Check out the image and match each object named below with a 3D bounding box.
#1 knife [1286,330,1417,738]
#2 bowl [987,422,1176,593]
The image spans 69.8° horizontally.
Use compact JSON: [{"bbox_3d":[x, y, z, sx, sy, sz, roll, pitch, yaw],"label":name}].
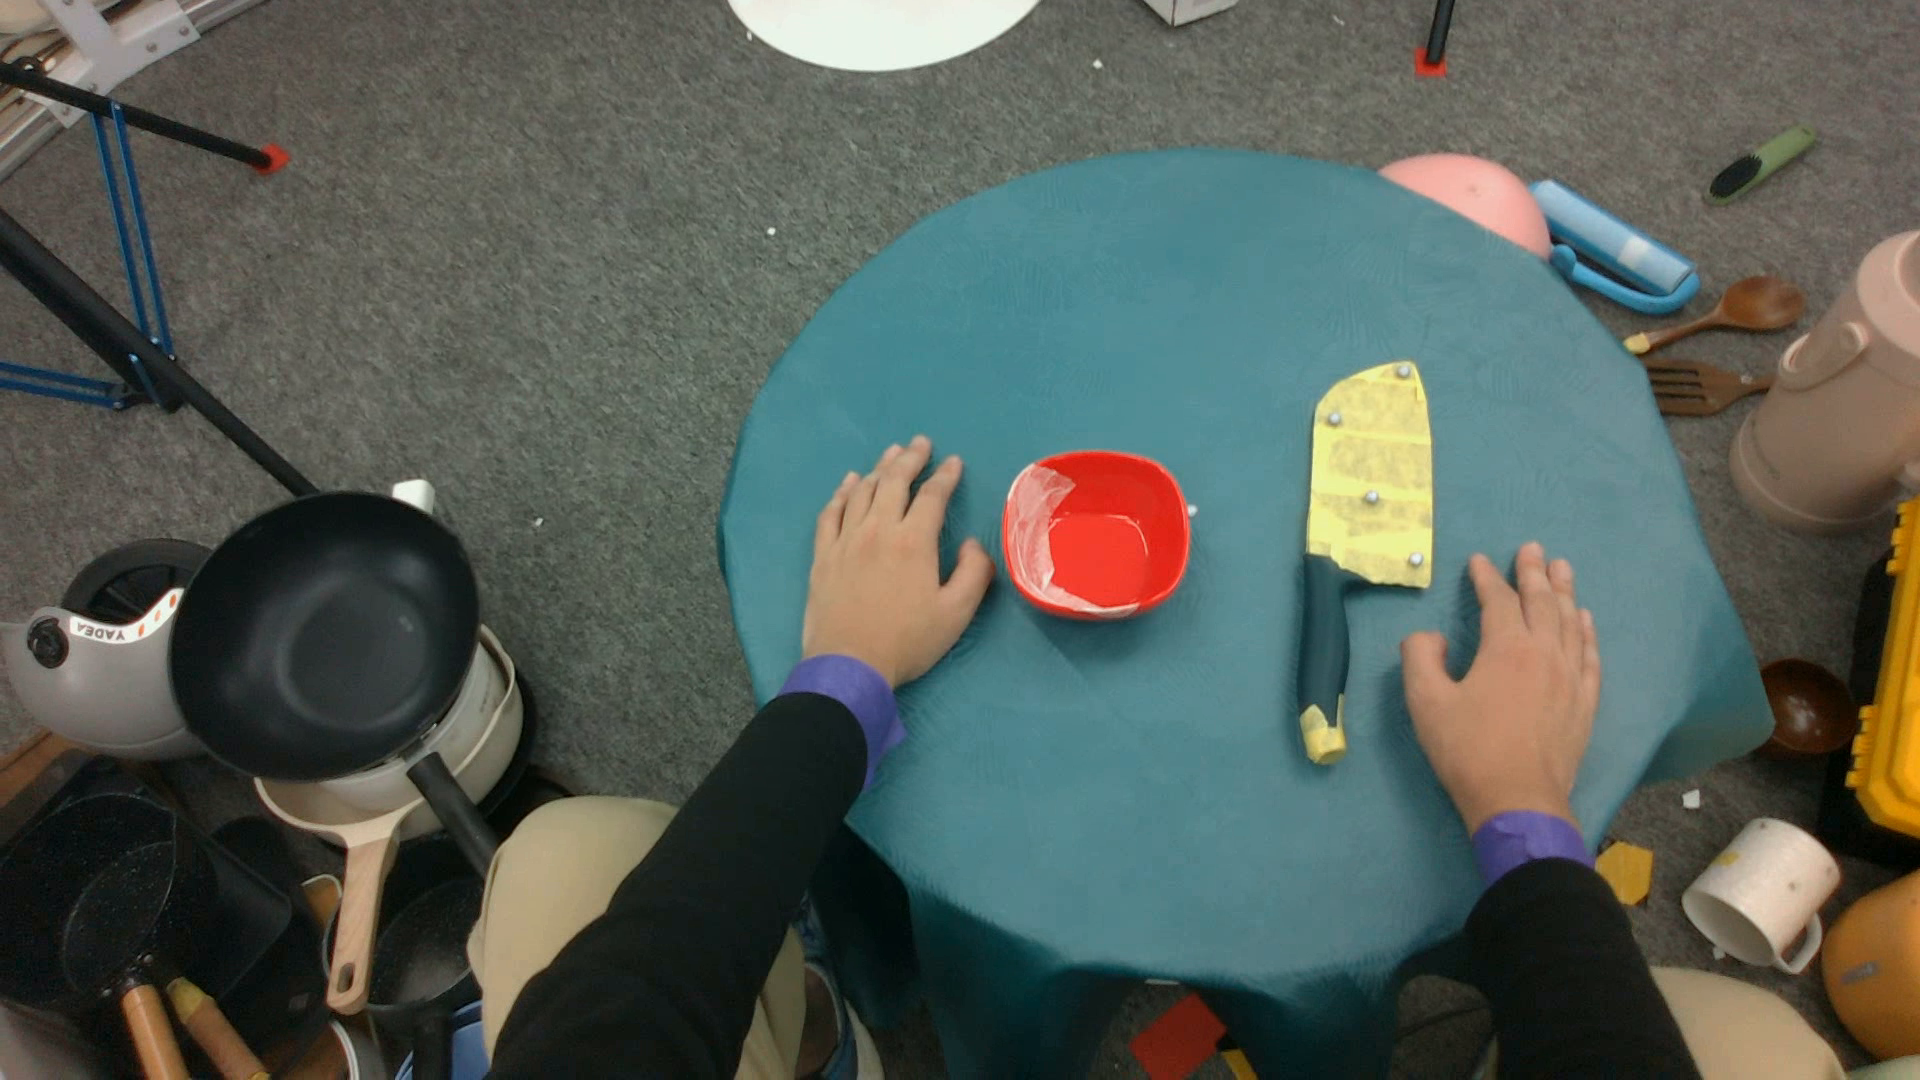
[{"bbox_3d":[0.236,-0.013,0.835,0.081,0.027,0.291,8,62,10],"label":"knife"},{"bbox_3d":[0.072,-0.011,0.824,0.119,0.051,0.119,-1,60,2],"label":"bowl"}]
